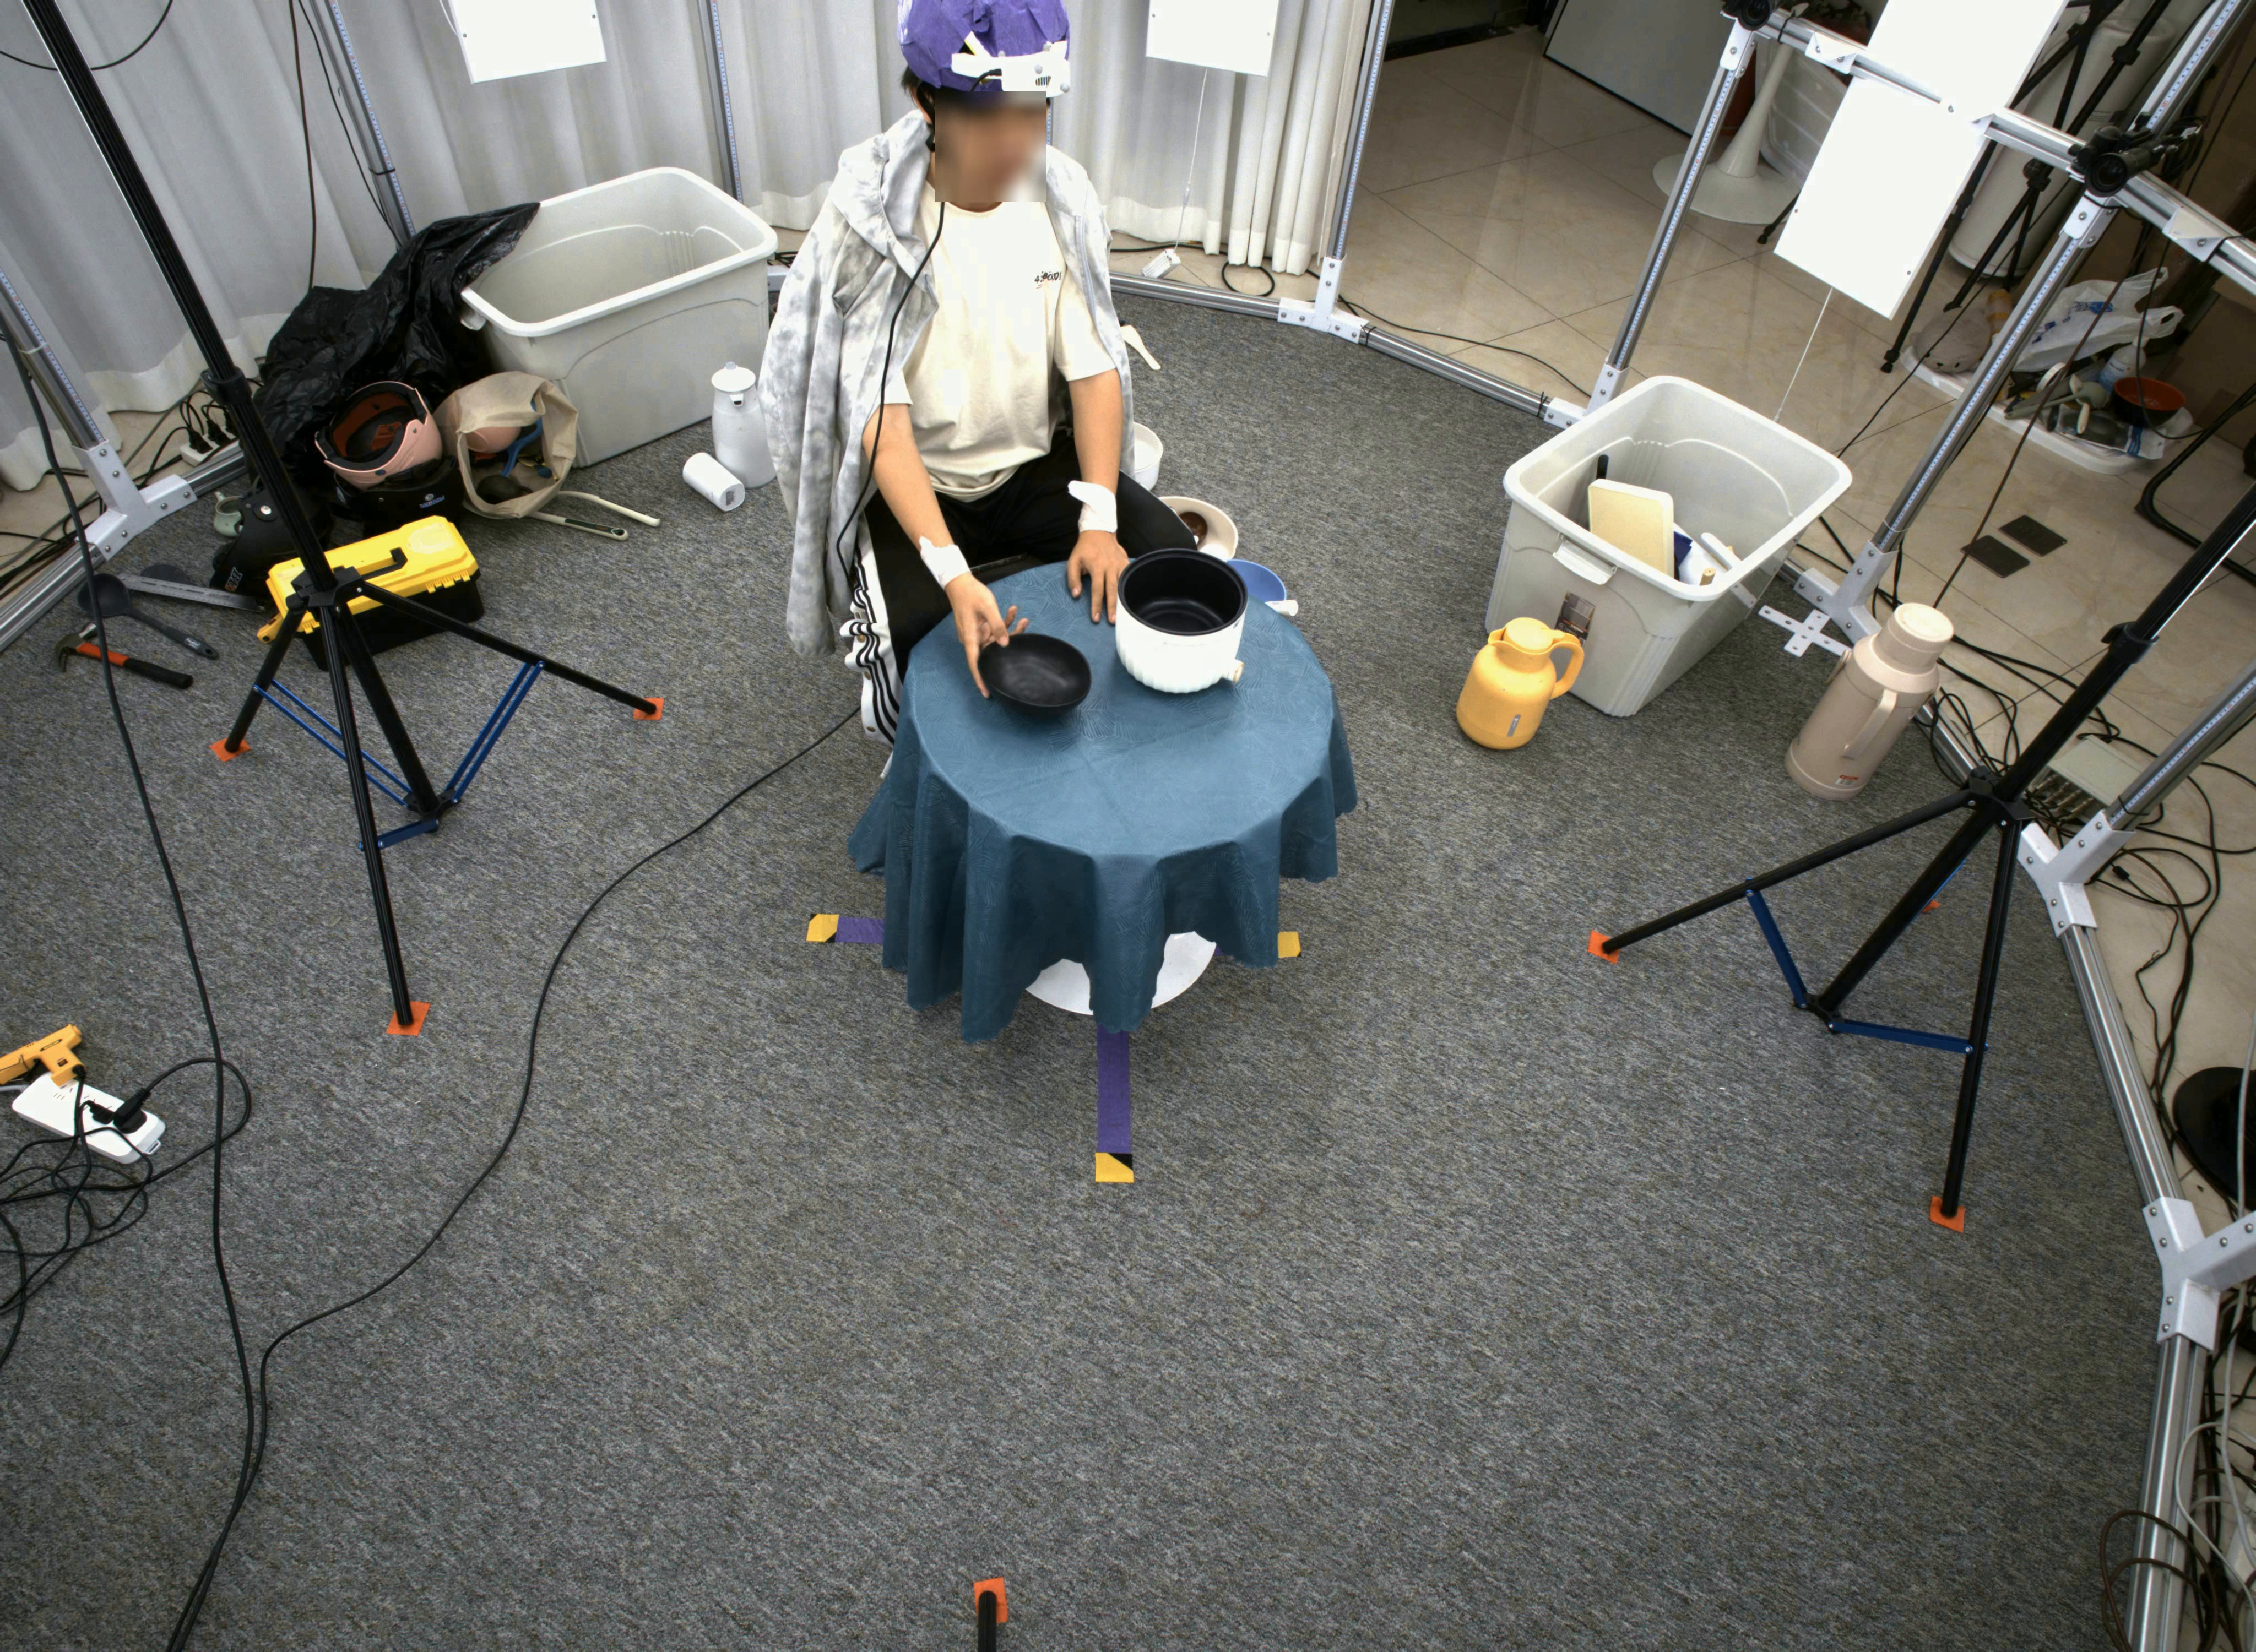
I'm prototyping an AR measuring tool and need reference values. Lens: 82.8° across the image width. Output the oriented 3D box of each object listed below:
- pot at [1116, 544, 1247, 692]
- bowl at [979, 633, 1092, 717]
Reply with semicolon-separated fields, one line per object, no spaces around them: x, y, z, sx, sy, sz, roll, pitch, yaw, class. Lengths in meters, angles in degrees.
0.077;-0.284;1.824;0.192;0.139;0.244;21;51;18;pot
-0.131;-0.199;1.783;0.172;0.065;0.139;29;52;21;bowl
